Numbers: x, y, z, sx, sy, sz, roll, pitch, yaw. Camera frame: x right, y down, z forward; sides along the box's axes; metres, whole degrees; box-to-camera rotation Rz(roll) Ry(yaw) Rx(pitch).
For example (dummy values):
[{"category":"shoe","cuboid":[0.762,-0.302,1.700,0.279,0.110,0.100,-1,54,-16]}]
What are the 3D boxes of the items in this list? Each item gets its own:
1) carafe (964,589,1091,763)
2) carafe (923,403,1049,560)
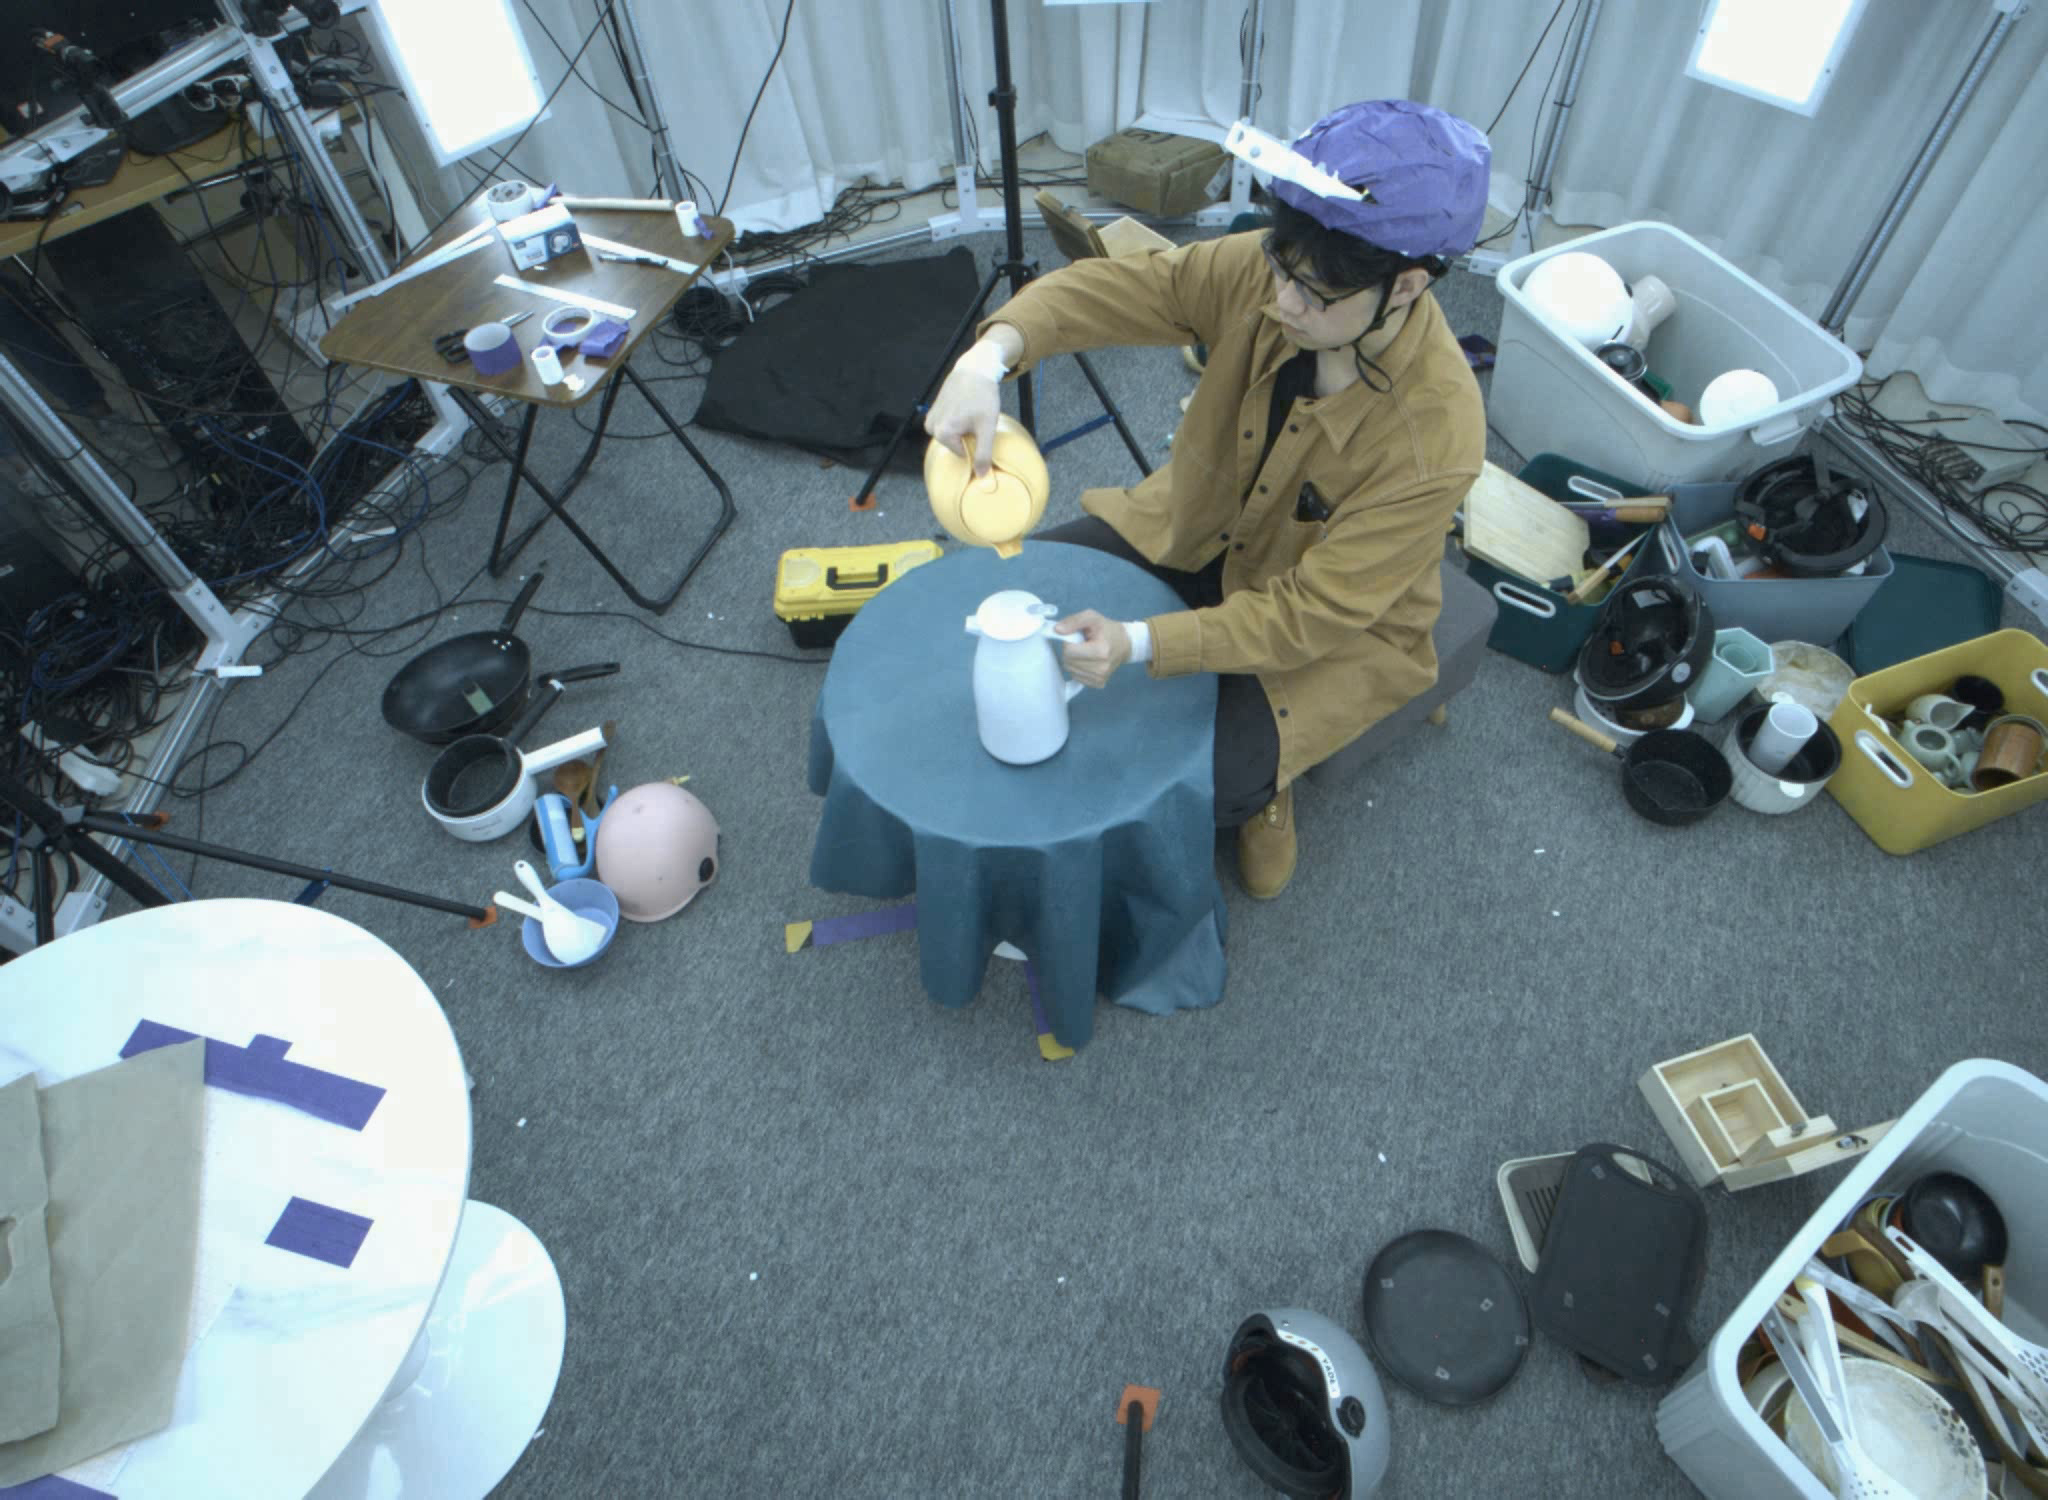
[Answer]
[{"category":"carafe","cuboid":[0.009,-0.108,1.698,0.167,0.251,0.131,0,53,3]},{"category":"carafe","cuboid":[-0.054,-0.368,1.607,0.164,0.205,0.256,-18,28,-1]}]
